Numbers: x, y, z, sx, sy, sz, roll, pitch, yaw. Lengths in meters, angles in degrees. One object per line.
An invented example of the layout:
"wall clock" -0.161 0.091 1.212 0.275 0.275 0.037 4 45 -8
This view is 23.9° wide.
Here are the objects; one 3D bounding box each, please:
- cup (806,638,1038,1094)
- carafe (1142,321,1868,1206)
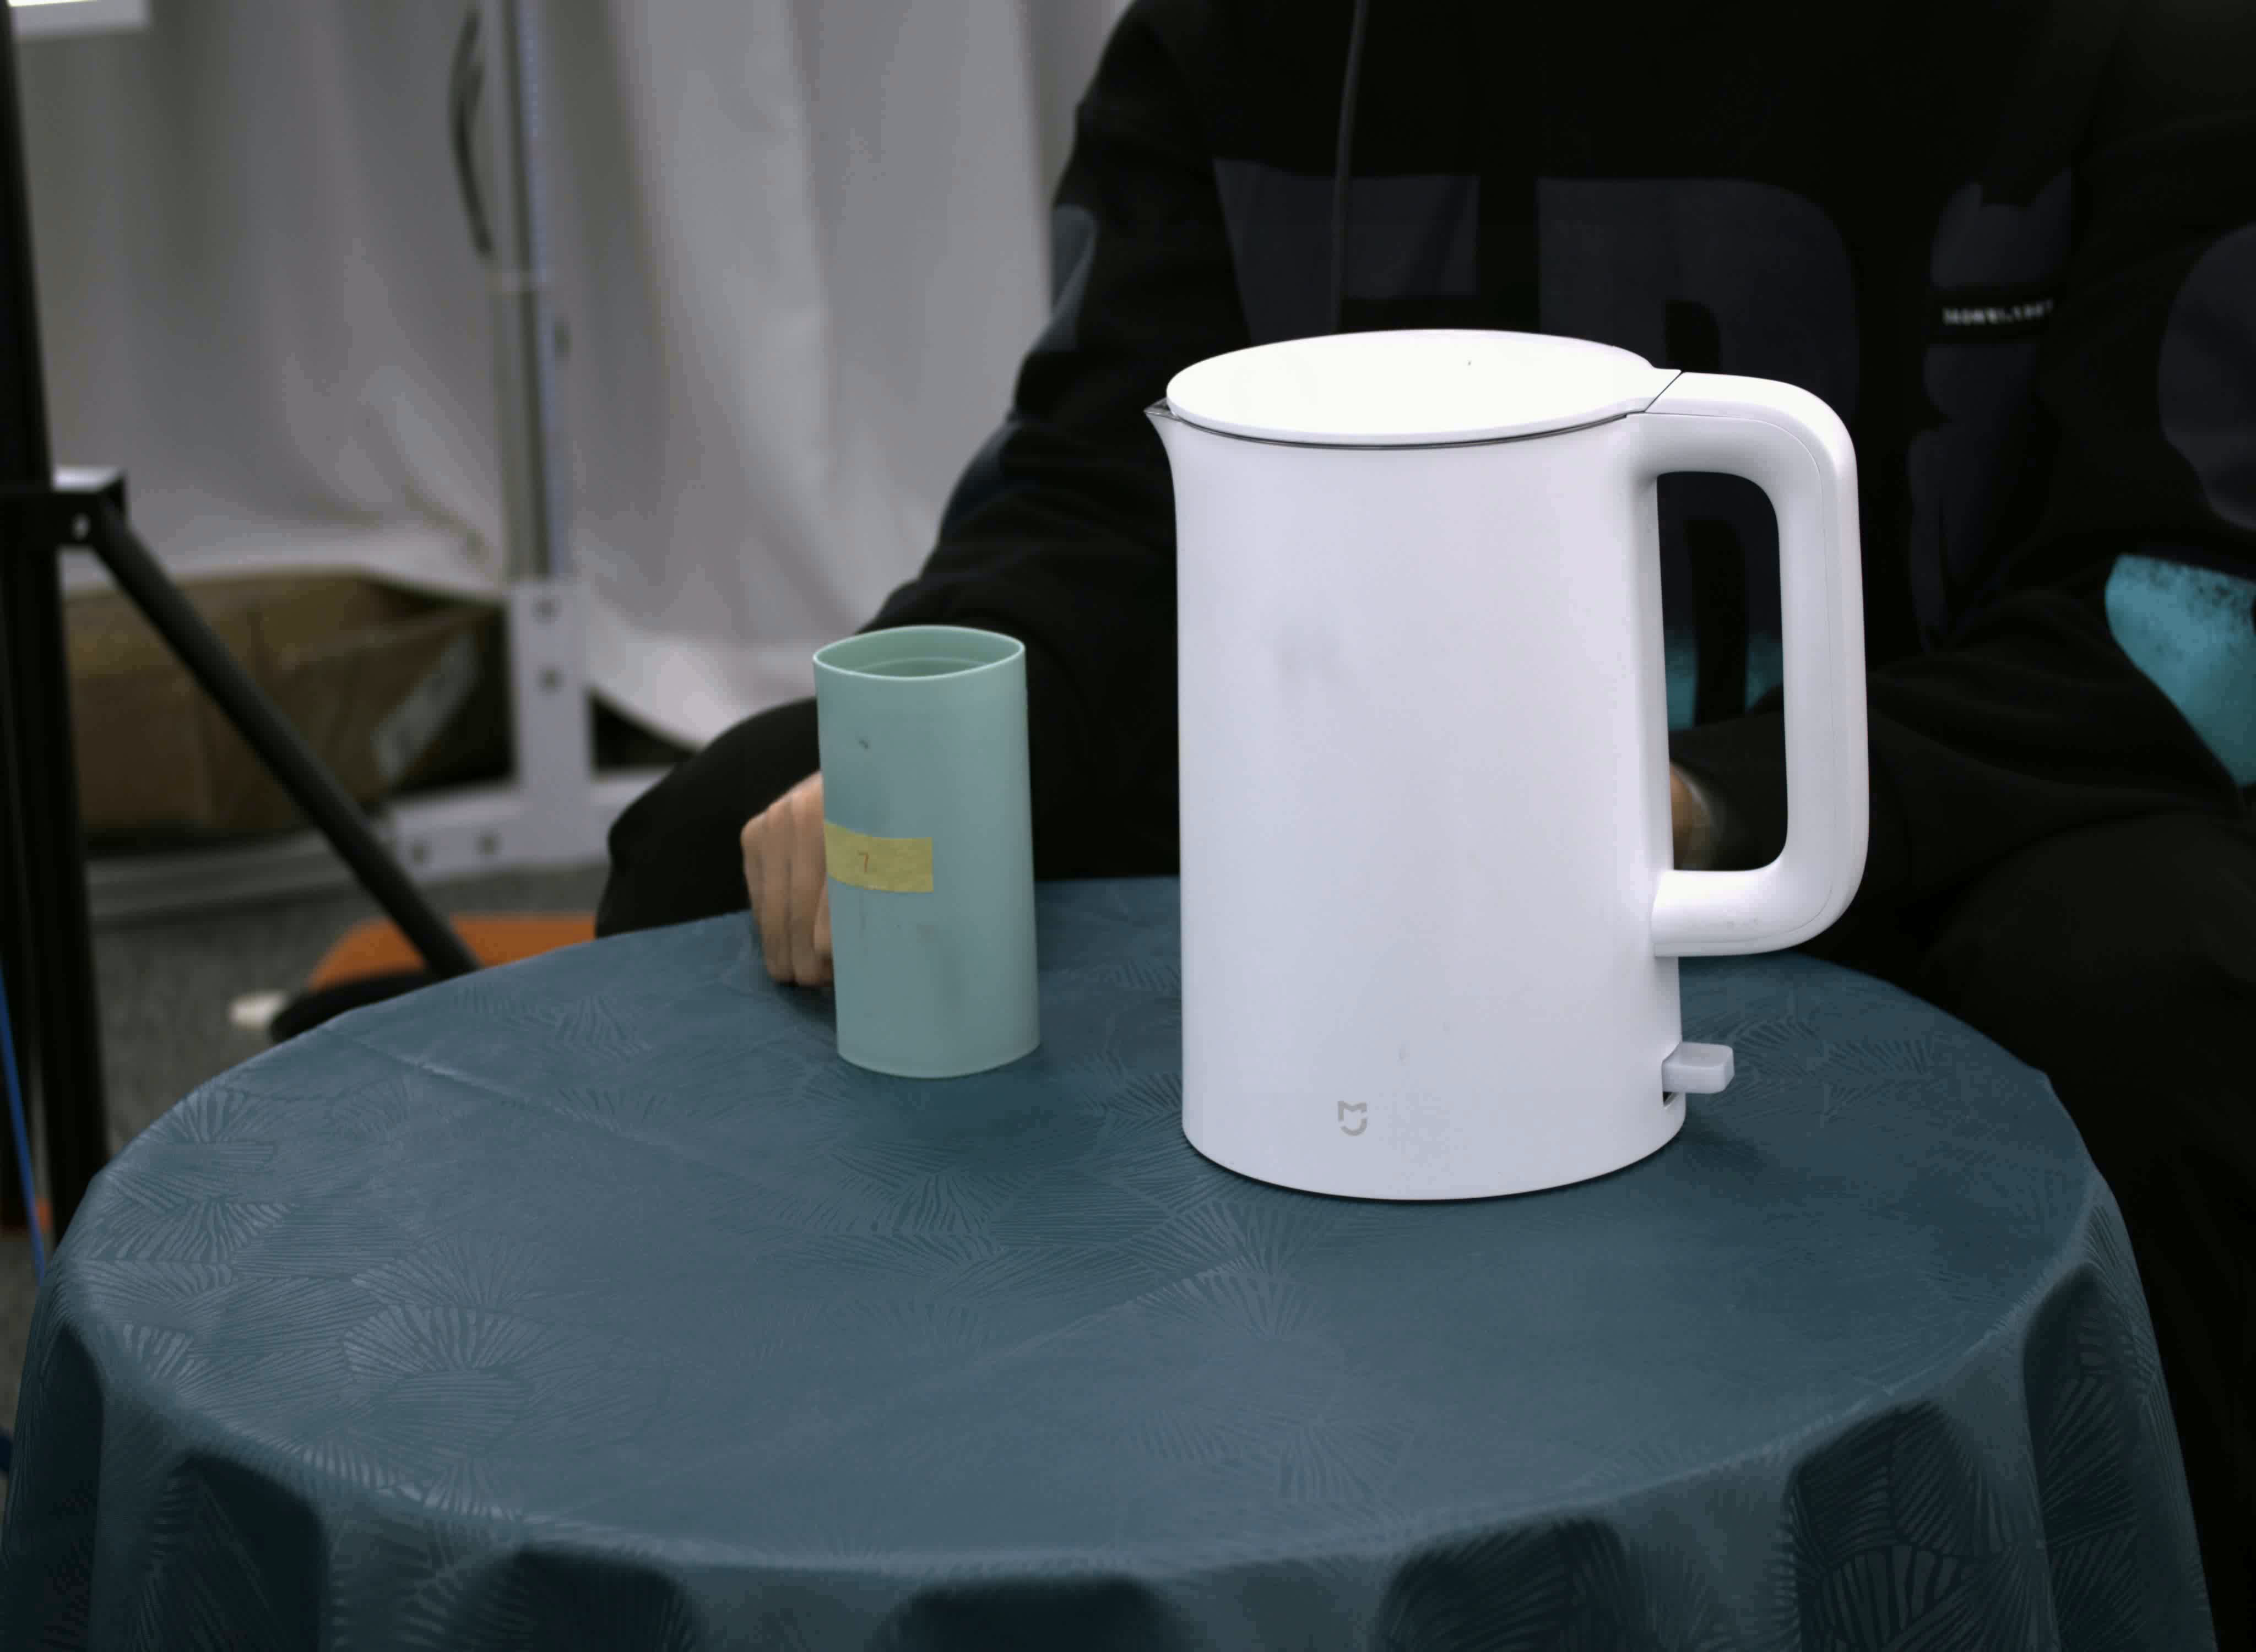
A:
"cup" -0.063 0.011 1.682 0.066 0.132 0.067 -4 15 0
"carafe" 0.111 -0.019 1.564 0.215 0.240 0.150 2 17 20
